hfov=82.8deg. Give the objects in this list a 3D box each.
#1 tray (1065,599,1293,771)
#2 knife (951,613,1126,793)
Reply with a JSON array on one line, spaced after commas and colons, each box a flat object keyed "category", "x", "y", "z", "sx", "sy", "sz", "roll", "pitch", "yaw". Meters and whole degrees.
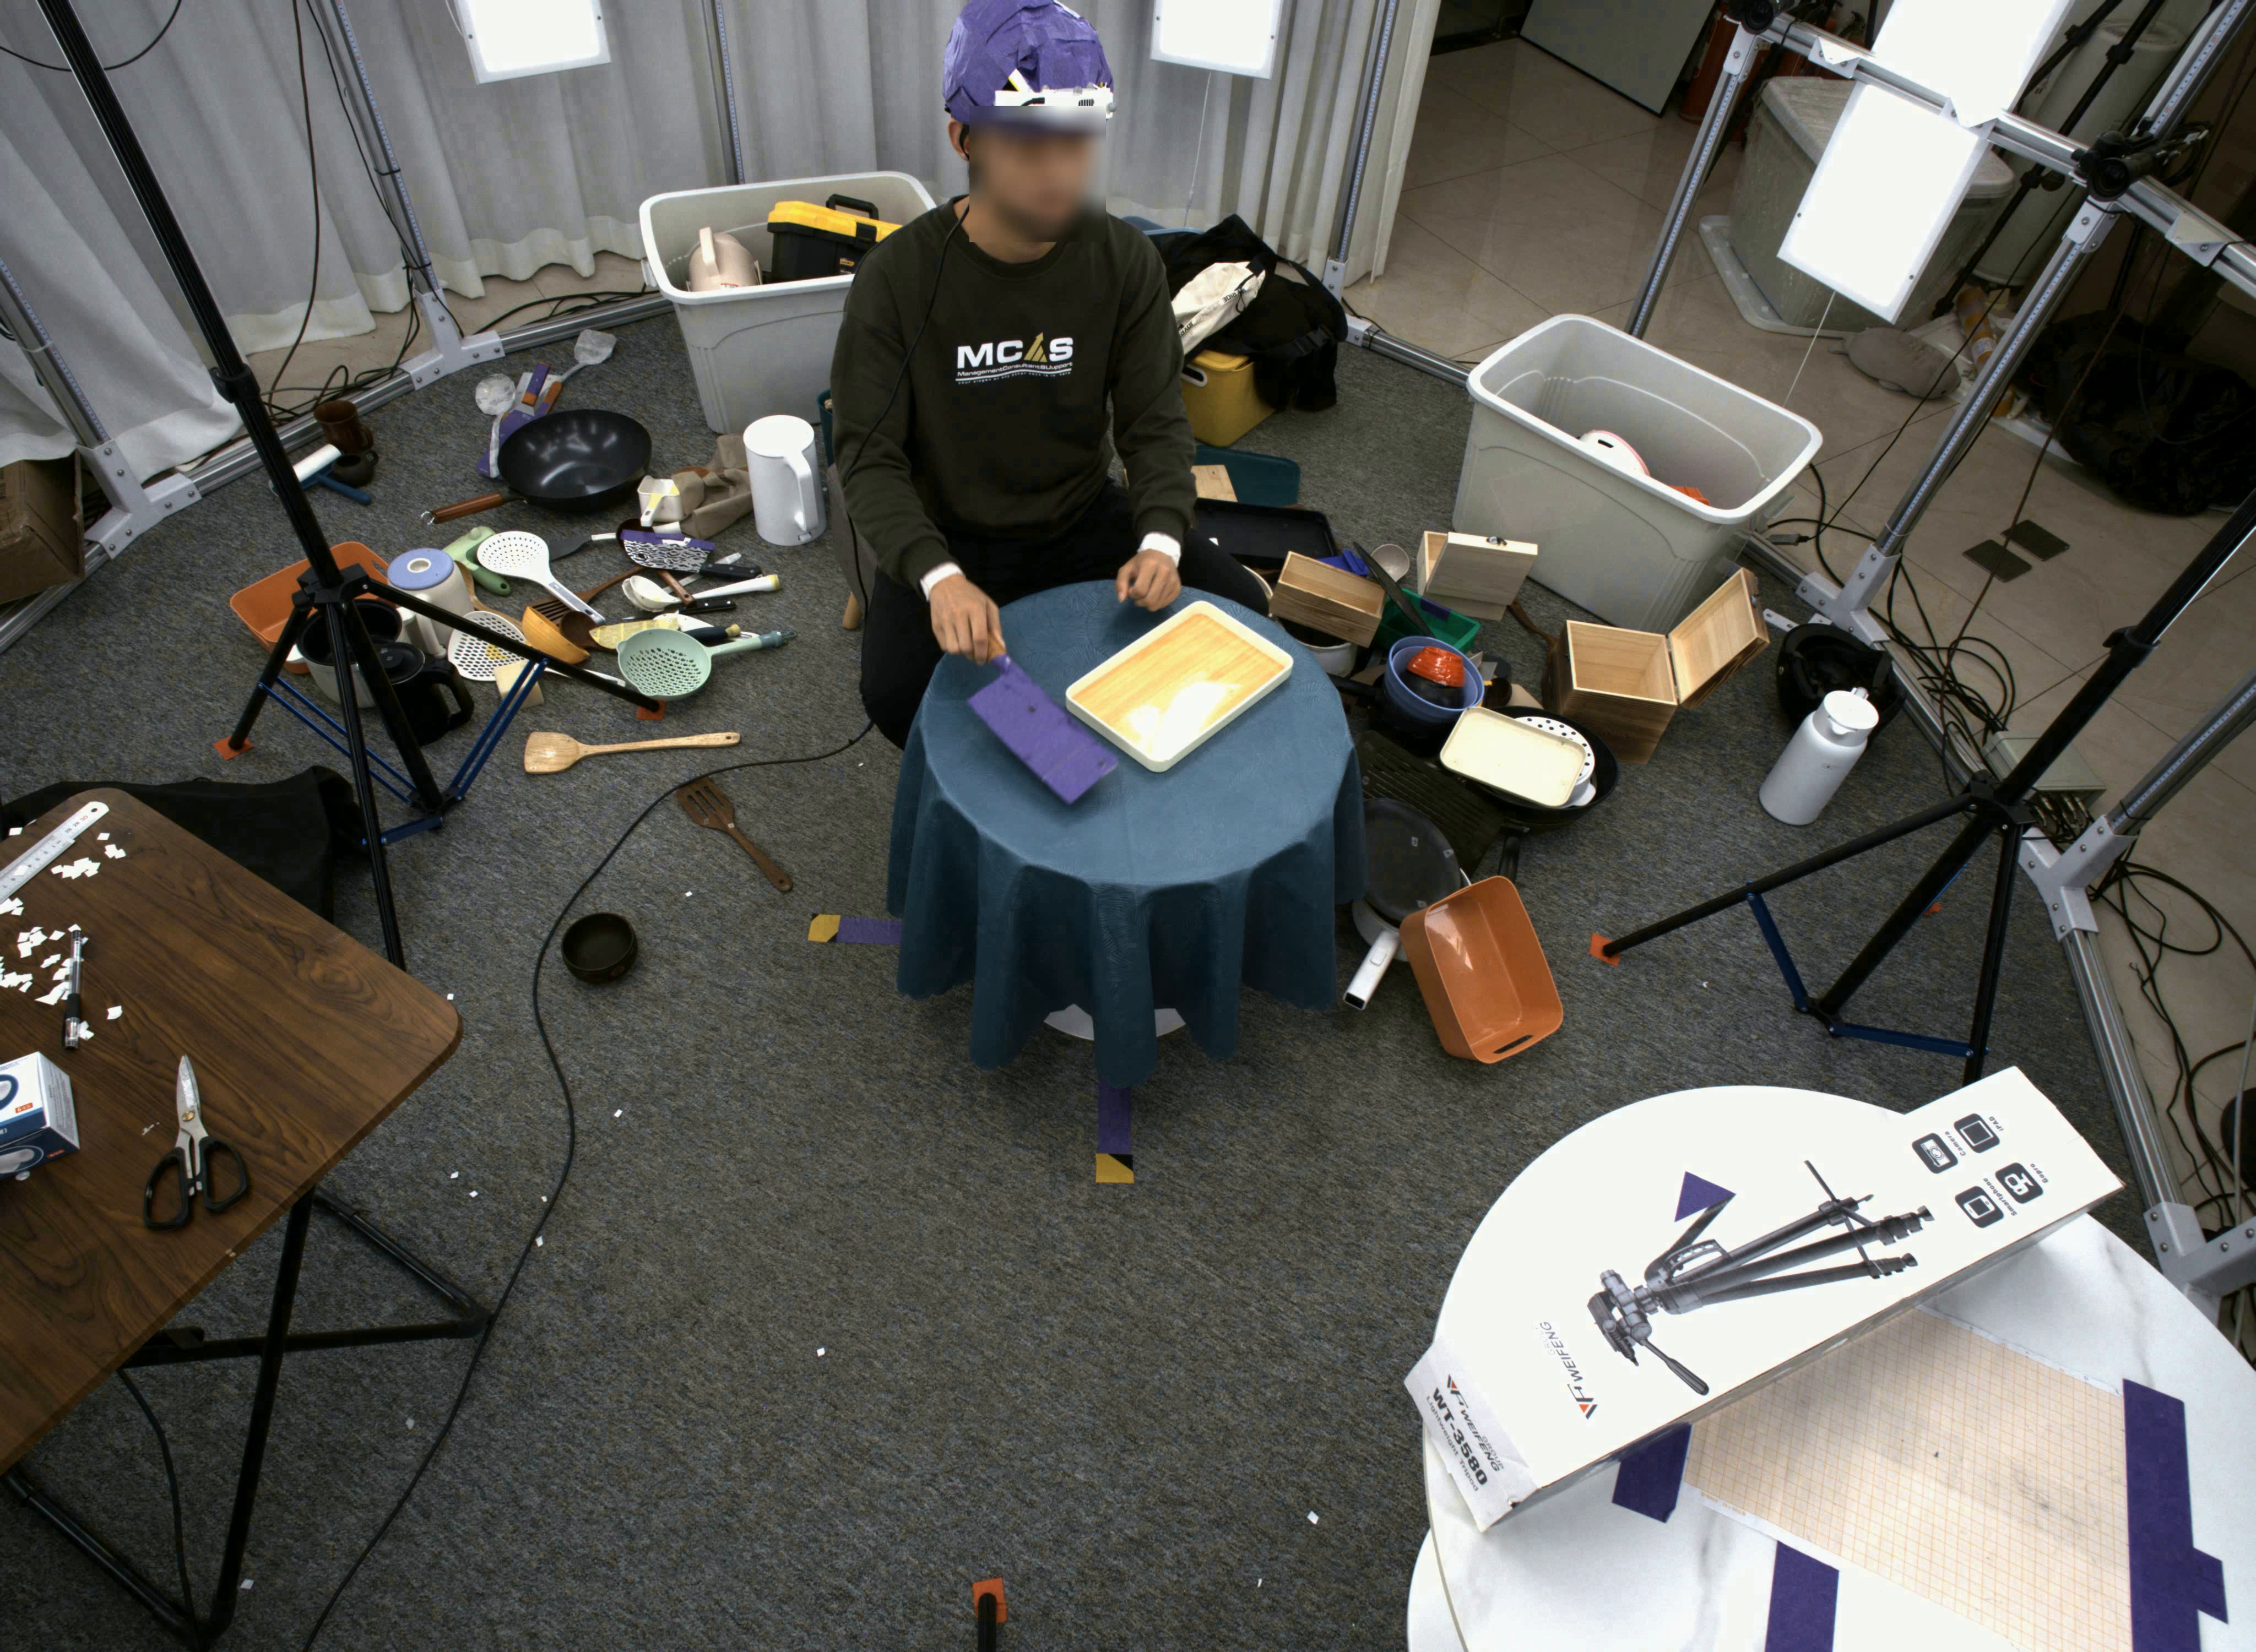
[{"category": "tray", "x": 0.075, "y": -0.207, "z": 1.834, "sx": 0.194, "sy": 0.027, "sz": 0.303, "roll": 37, "pitch": 56, "yaw": 25}, {"category": "knife", "x": -0.146, "y": -0.166, "z": 1.715, "sx": 0.104, "sy": 0.031, "sz": 0.319, "roll": -39, "pitch": 67, "yaw": -21}]
